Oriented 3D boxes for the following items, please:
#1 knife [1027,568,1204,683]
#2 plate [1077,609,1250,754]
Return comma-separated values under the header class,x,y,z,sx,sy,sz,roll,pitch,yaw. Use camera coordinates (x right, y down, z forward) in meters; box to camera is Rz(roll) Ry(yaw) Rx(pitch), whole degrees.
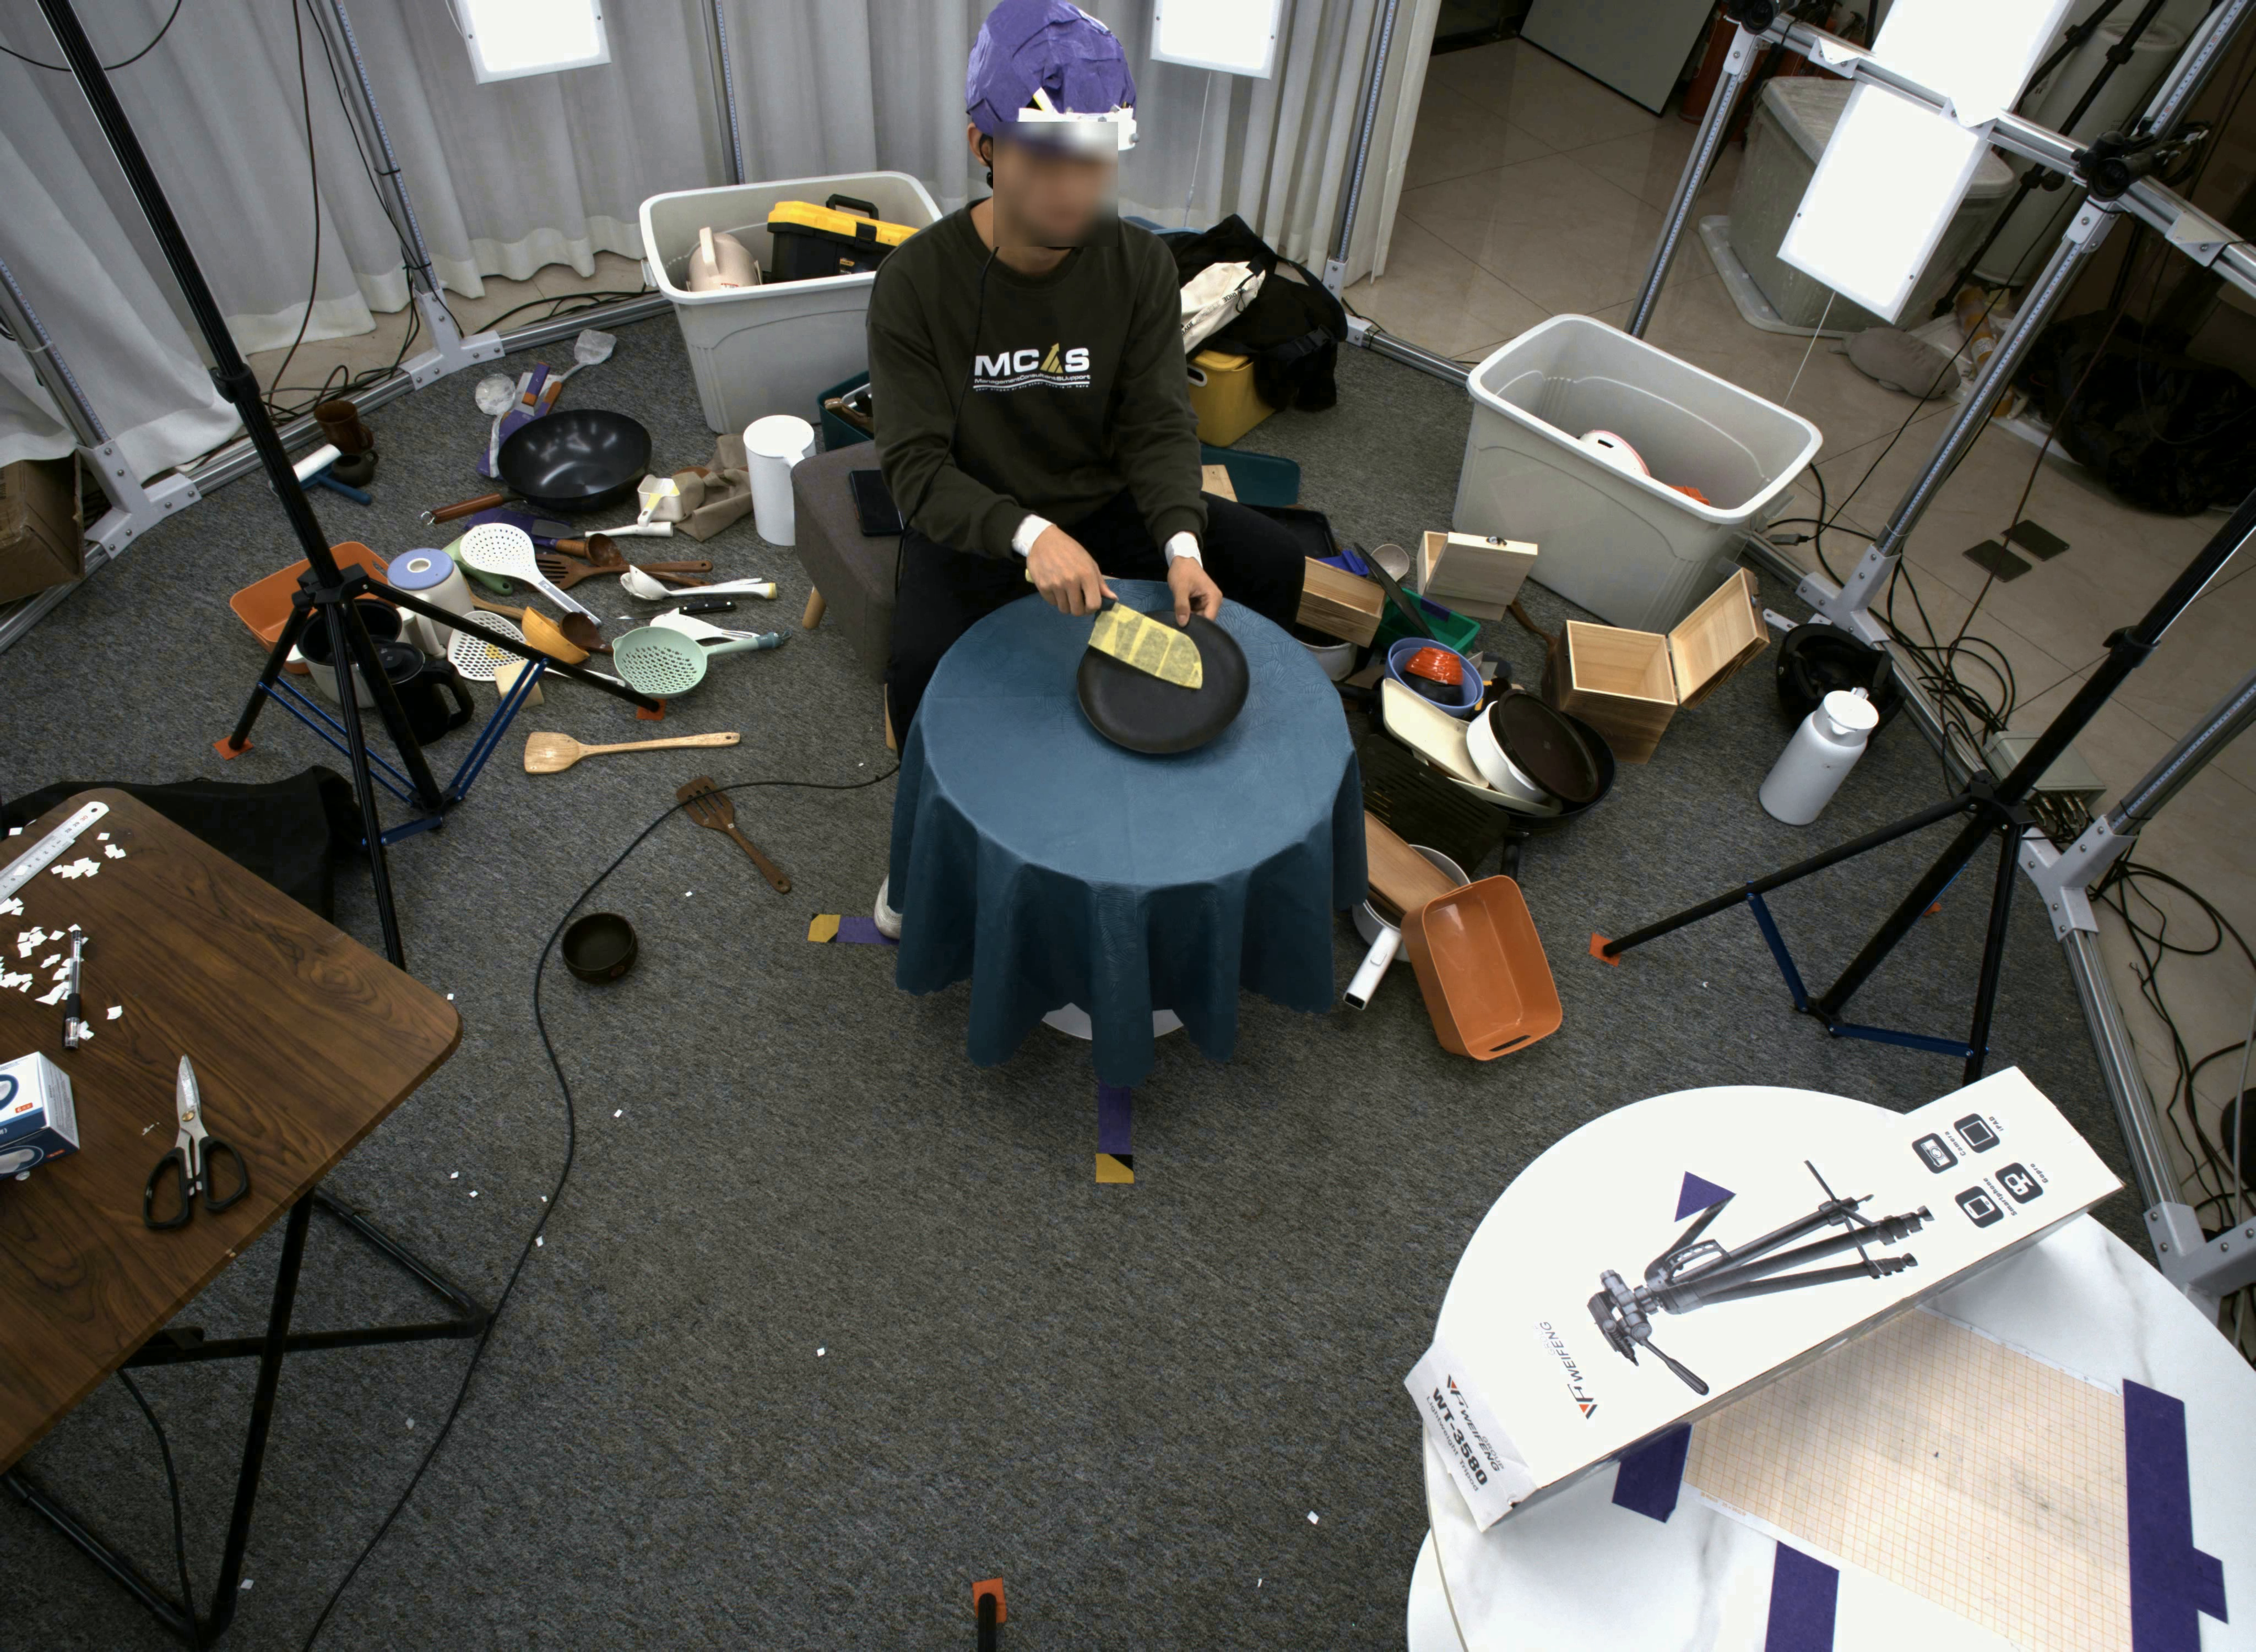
class,x,y,z,sx,sy,sz,roll,pitch,yaw
knife,-0.020,-0.282,1.808,0.291,0.080,0.027,29,19,8
plate,0.049,-0.201,1.803,0.244,0.023,0.250,-2,60,4
